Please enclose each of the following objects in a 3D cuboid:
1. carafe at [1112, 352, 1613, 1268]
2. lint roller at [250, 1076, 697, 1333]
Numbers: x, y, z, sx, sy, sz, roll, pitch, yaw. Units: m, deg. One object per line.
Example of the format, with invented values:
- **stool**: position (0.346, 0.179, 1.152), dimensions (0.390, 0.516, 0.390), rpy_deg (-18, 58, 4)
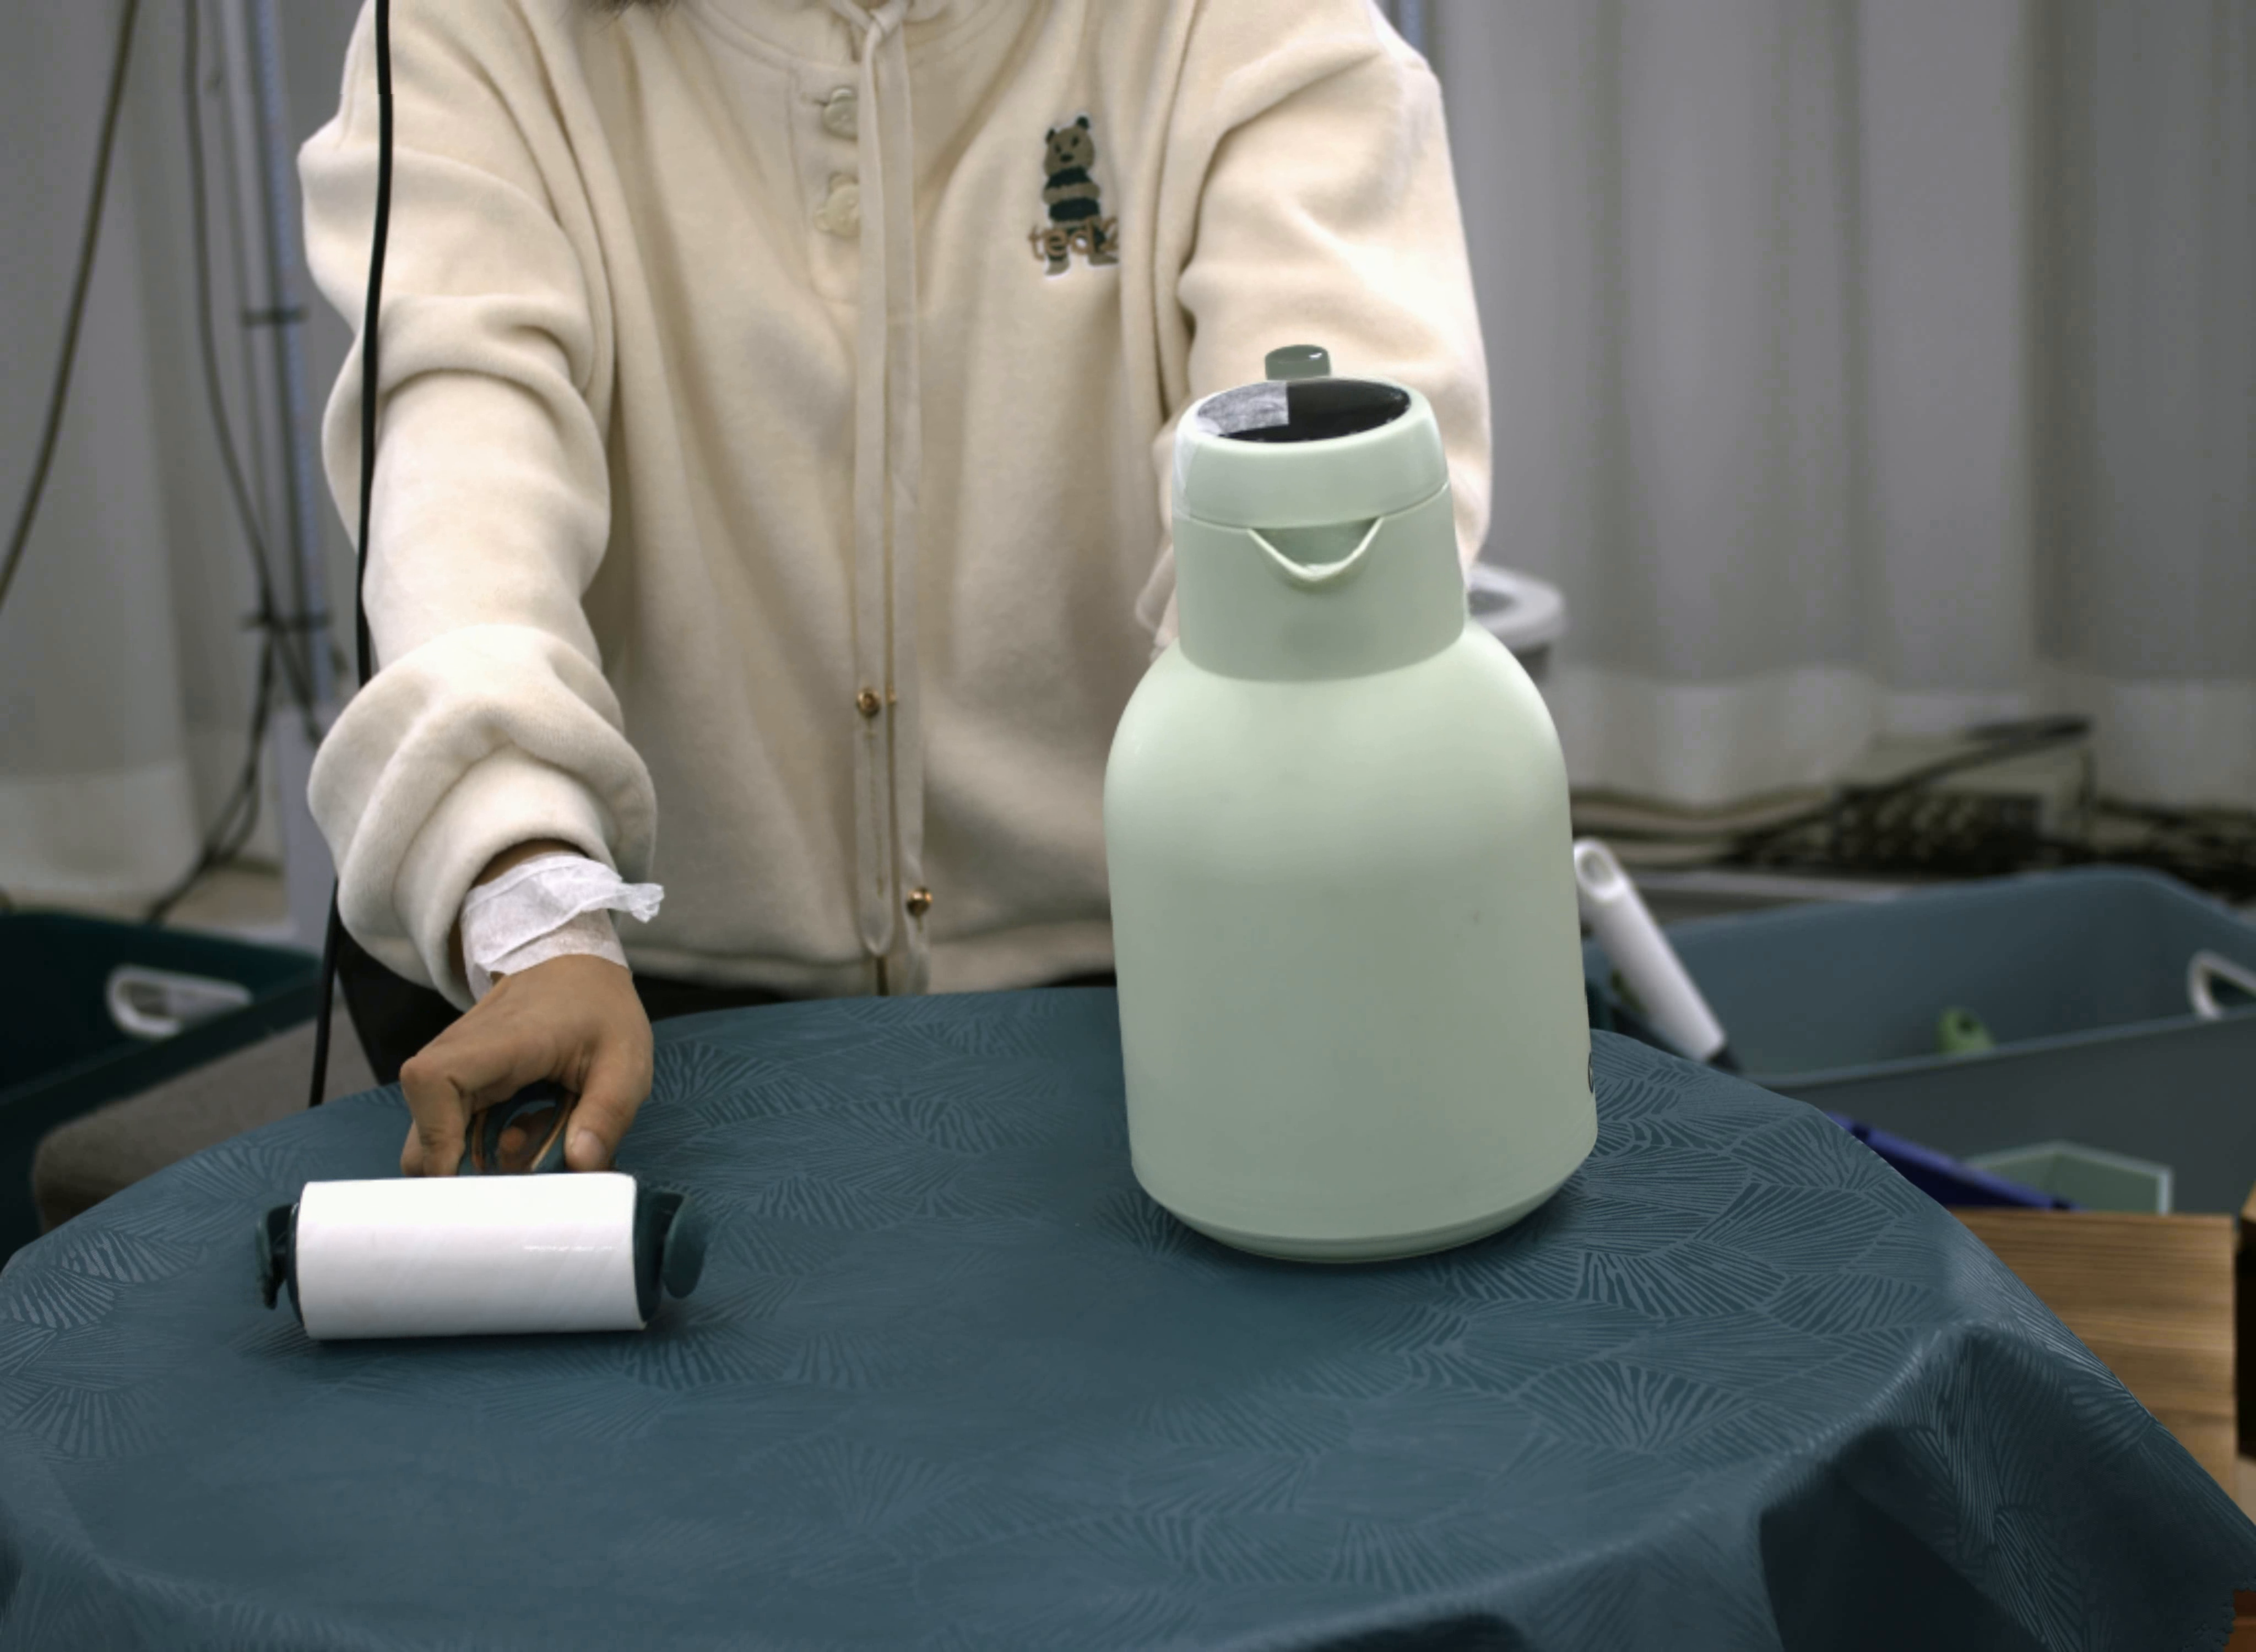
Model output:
- **carafe**: position (0.065, -0.010, 1.665), dimensions (0.144, 0.255, 0.188), rpy_deg (-6, 16, 2)
- **lint roller**: position (-0.191, 0.099, 1.676), dimensions (0.134, 0.048, 0.182), rpy_deg (-1, 23, 2)
